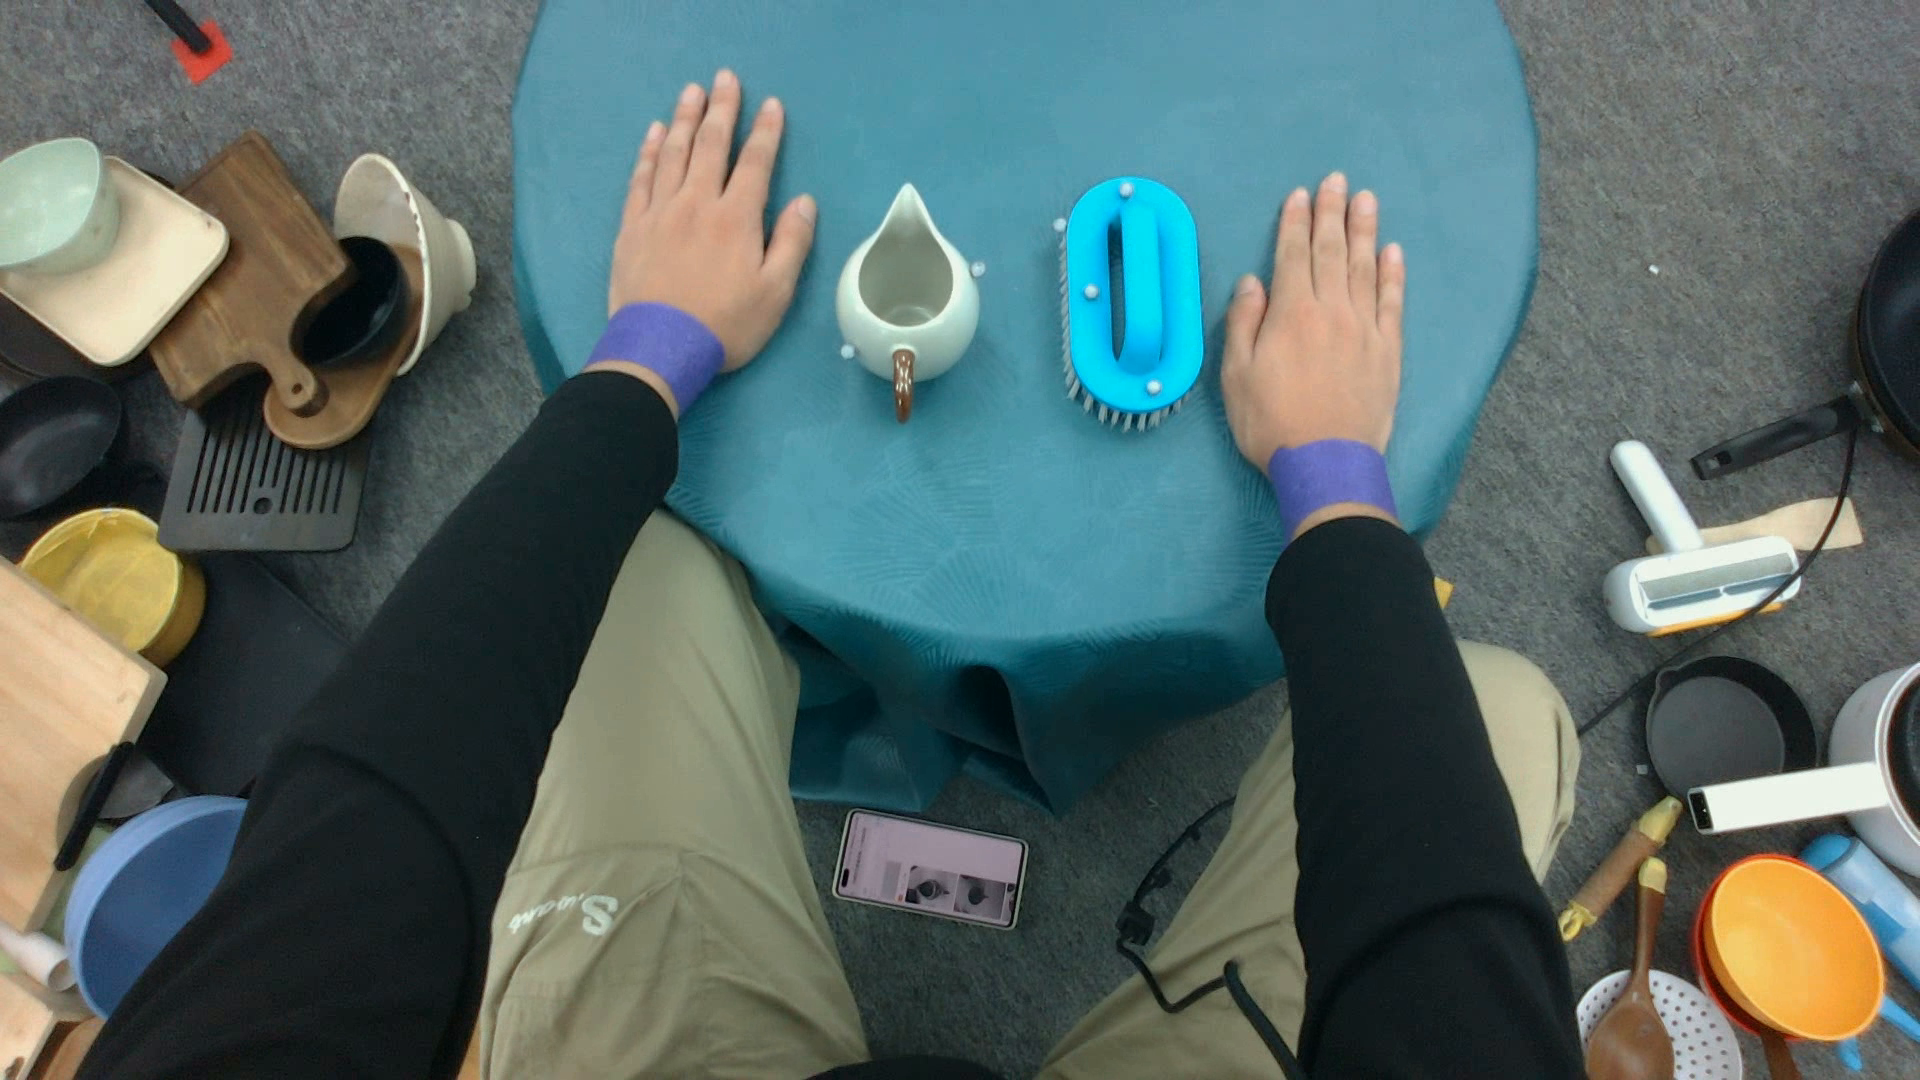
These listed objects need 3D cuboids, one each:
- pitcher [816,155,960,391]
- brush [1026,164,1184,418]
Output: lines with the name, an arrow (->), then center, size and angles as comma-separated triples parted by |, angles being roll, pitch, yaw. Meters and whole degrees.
pitcher -> -0.038, -0.129, 0.732 | 0.076, 0.087, 0.119 | 3, 72, 5
brush -> 0.082, -0.142, 0.750 | 0.084, 0.063, 0.142 | 1, 76, -6
